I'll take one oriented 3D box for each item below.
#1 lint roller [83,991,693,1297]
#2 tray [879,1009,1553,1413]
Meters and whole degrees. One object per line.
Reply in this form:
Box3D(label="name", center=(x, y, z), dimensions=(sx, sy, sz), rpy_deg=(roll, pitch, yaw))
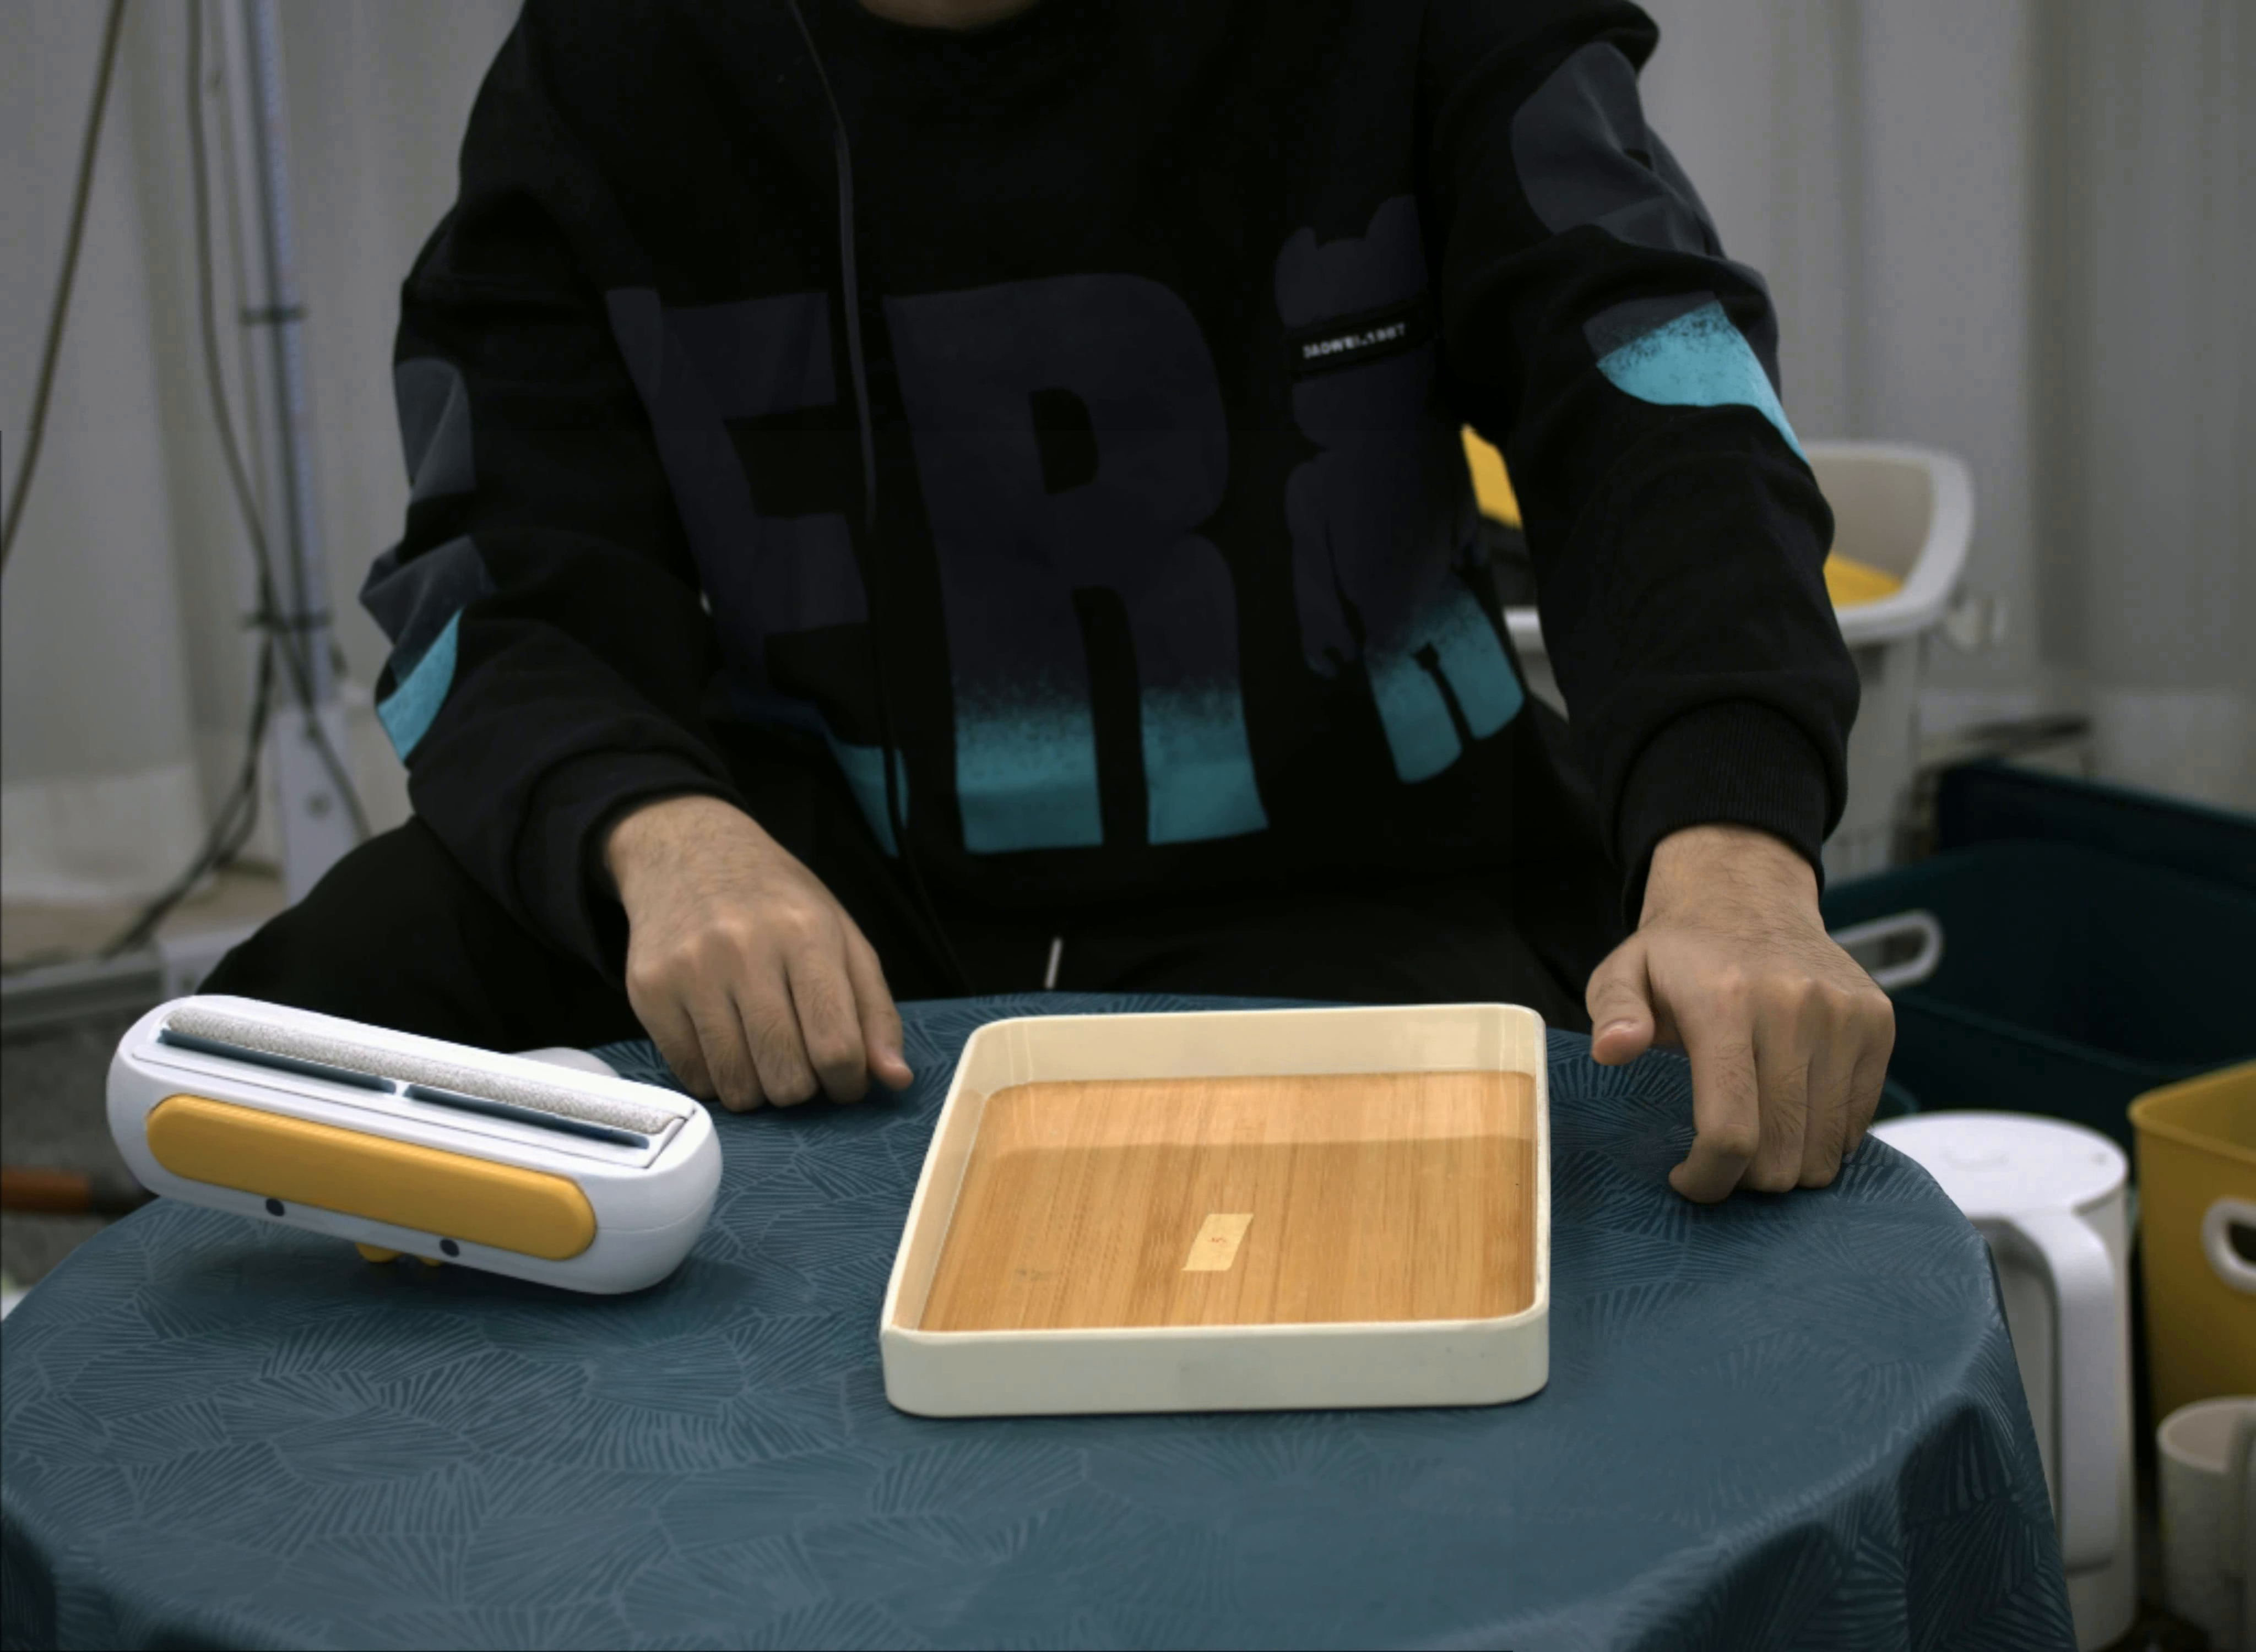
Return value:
Box3D(label="lint roller", center=(-0.206, 0.089, 1.723), dimensions=(0.193, 0.074, 0.193), rpy_deg=(8, 16, 18))
Box3D(label="tray", center=(0.034, 0.113, 1.662), dimensions=(0.191, 0.027, 0.302), rpy_deg=(-1, 15, 5))
